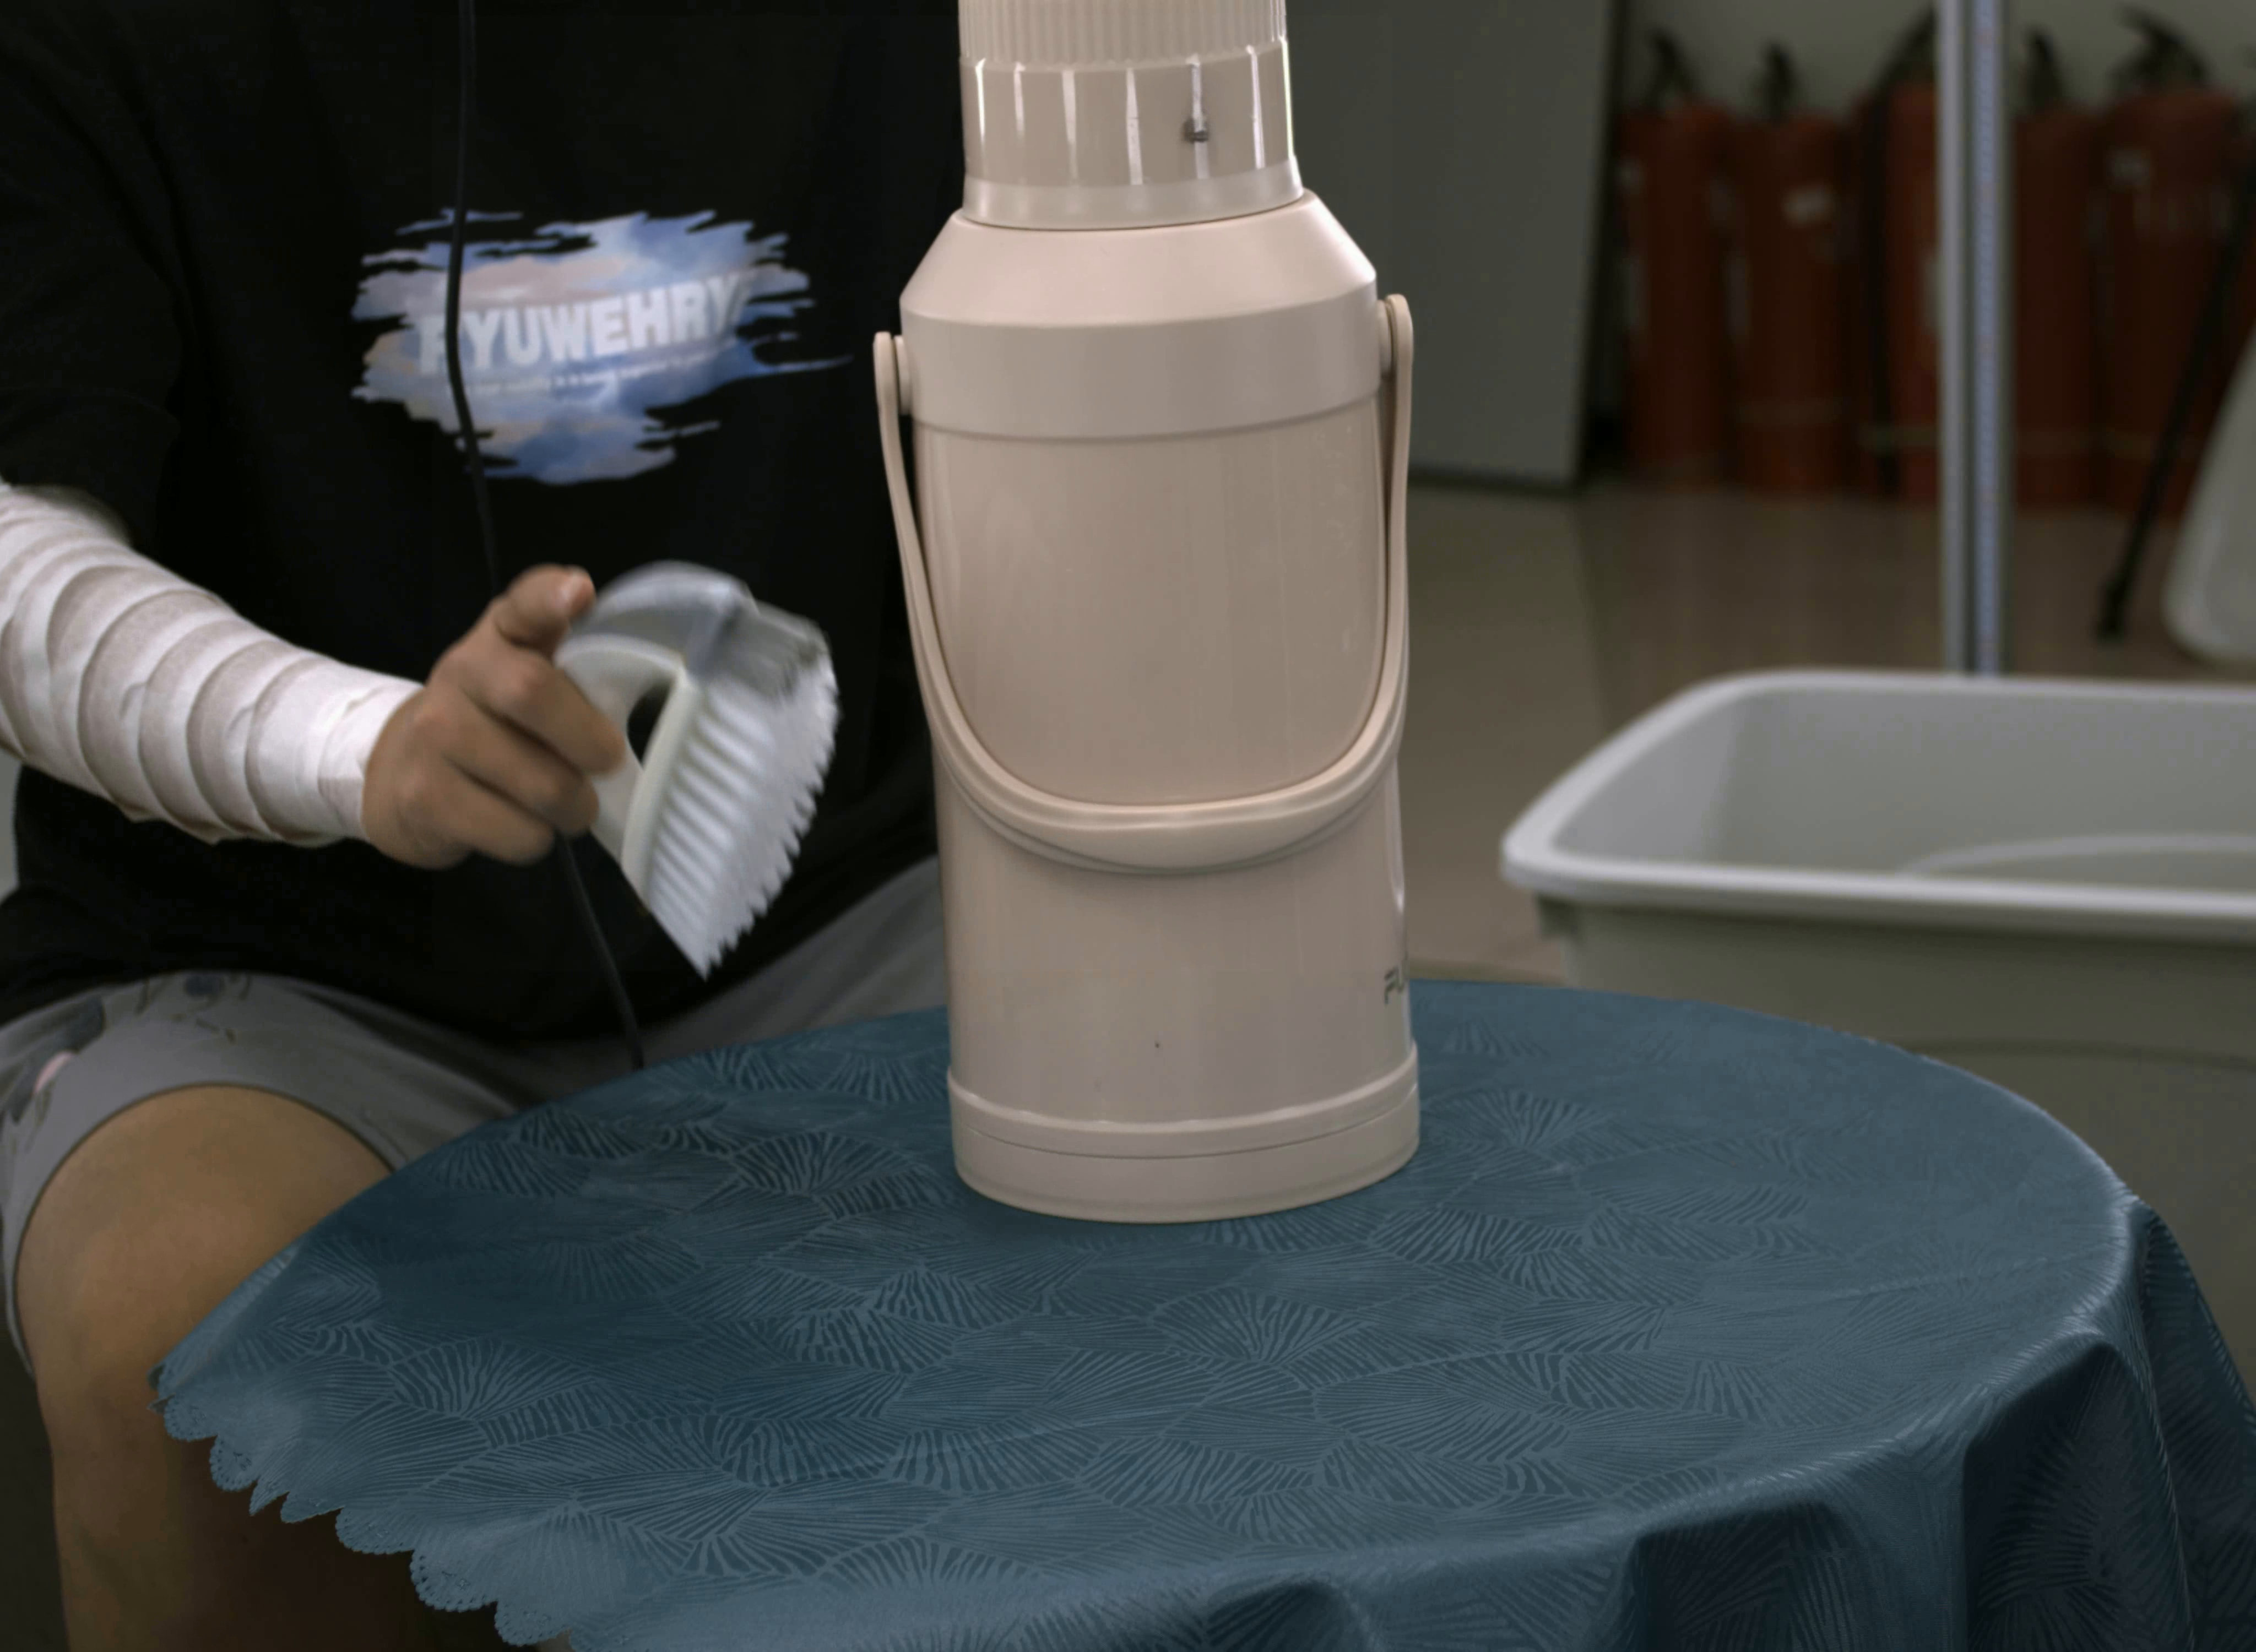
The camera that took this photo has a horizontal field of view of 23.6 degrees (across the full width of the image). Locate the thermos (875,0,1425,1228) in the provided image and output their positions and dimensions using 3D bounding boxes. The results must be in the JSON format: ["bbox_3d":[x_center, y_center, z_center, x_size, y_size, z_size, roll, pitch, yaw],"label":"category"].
[{"bbox_3d":[0.009,-0.087,1.781,0.173,0.411,0.208,-6,13,-4],"label":"thermos"}]

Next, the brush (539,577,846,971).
[{"bbox_3d":[-0.139,-0.032,1.695,0.094,0.176,0.061,35,60,7],"label":"brush"}]
